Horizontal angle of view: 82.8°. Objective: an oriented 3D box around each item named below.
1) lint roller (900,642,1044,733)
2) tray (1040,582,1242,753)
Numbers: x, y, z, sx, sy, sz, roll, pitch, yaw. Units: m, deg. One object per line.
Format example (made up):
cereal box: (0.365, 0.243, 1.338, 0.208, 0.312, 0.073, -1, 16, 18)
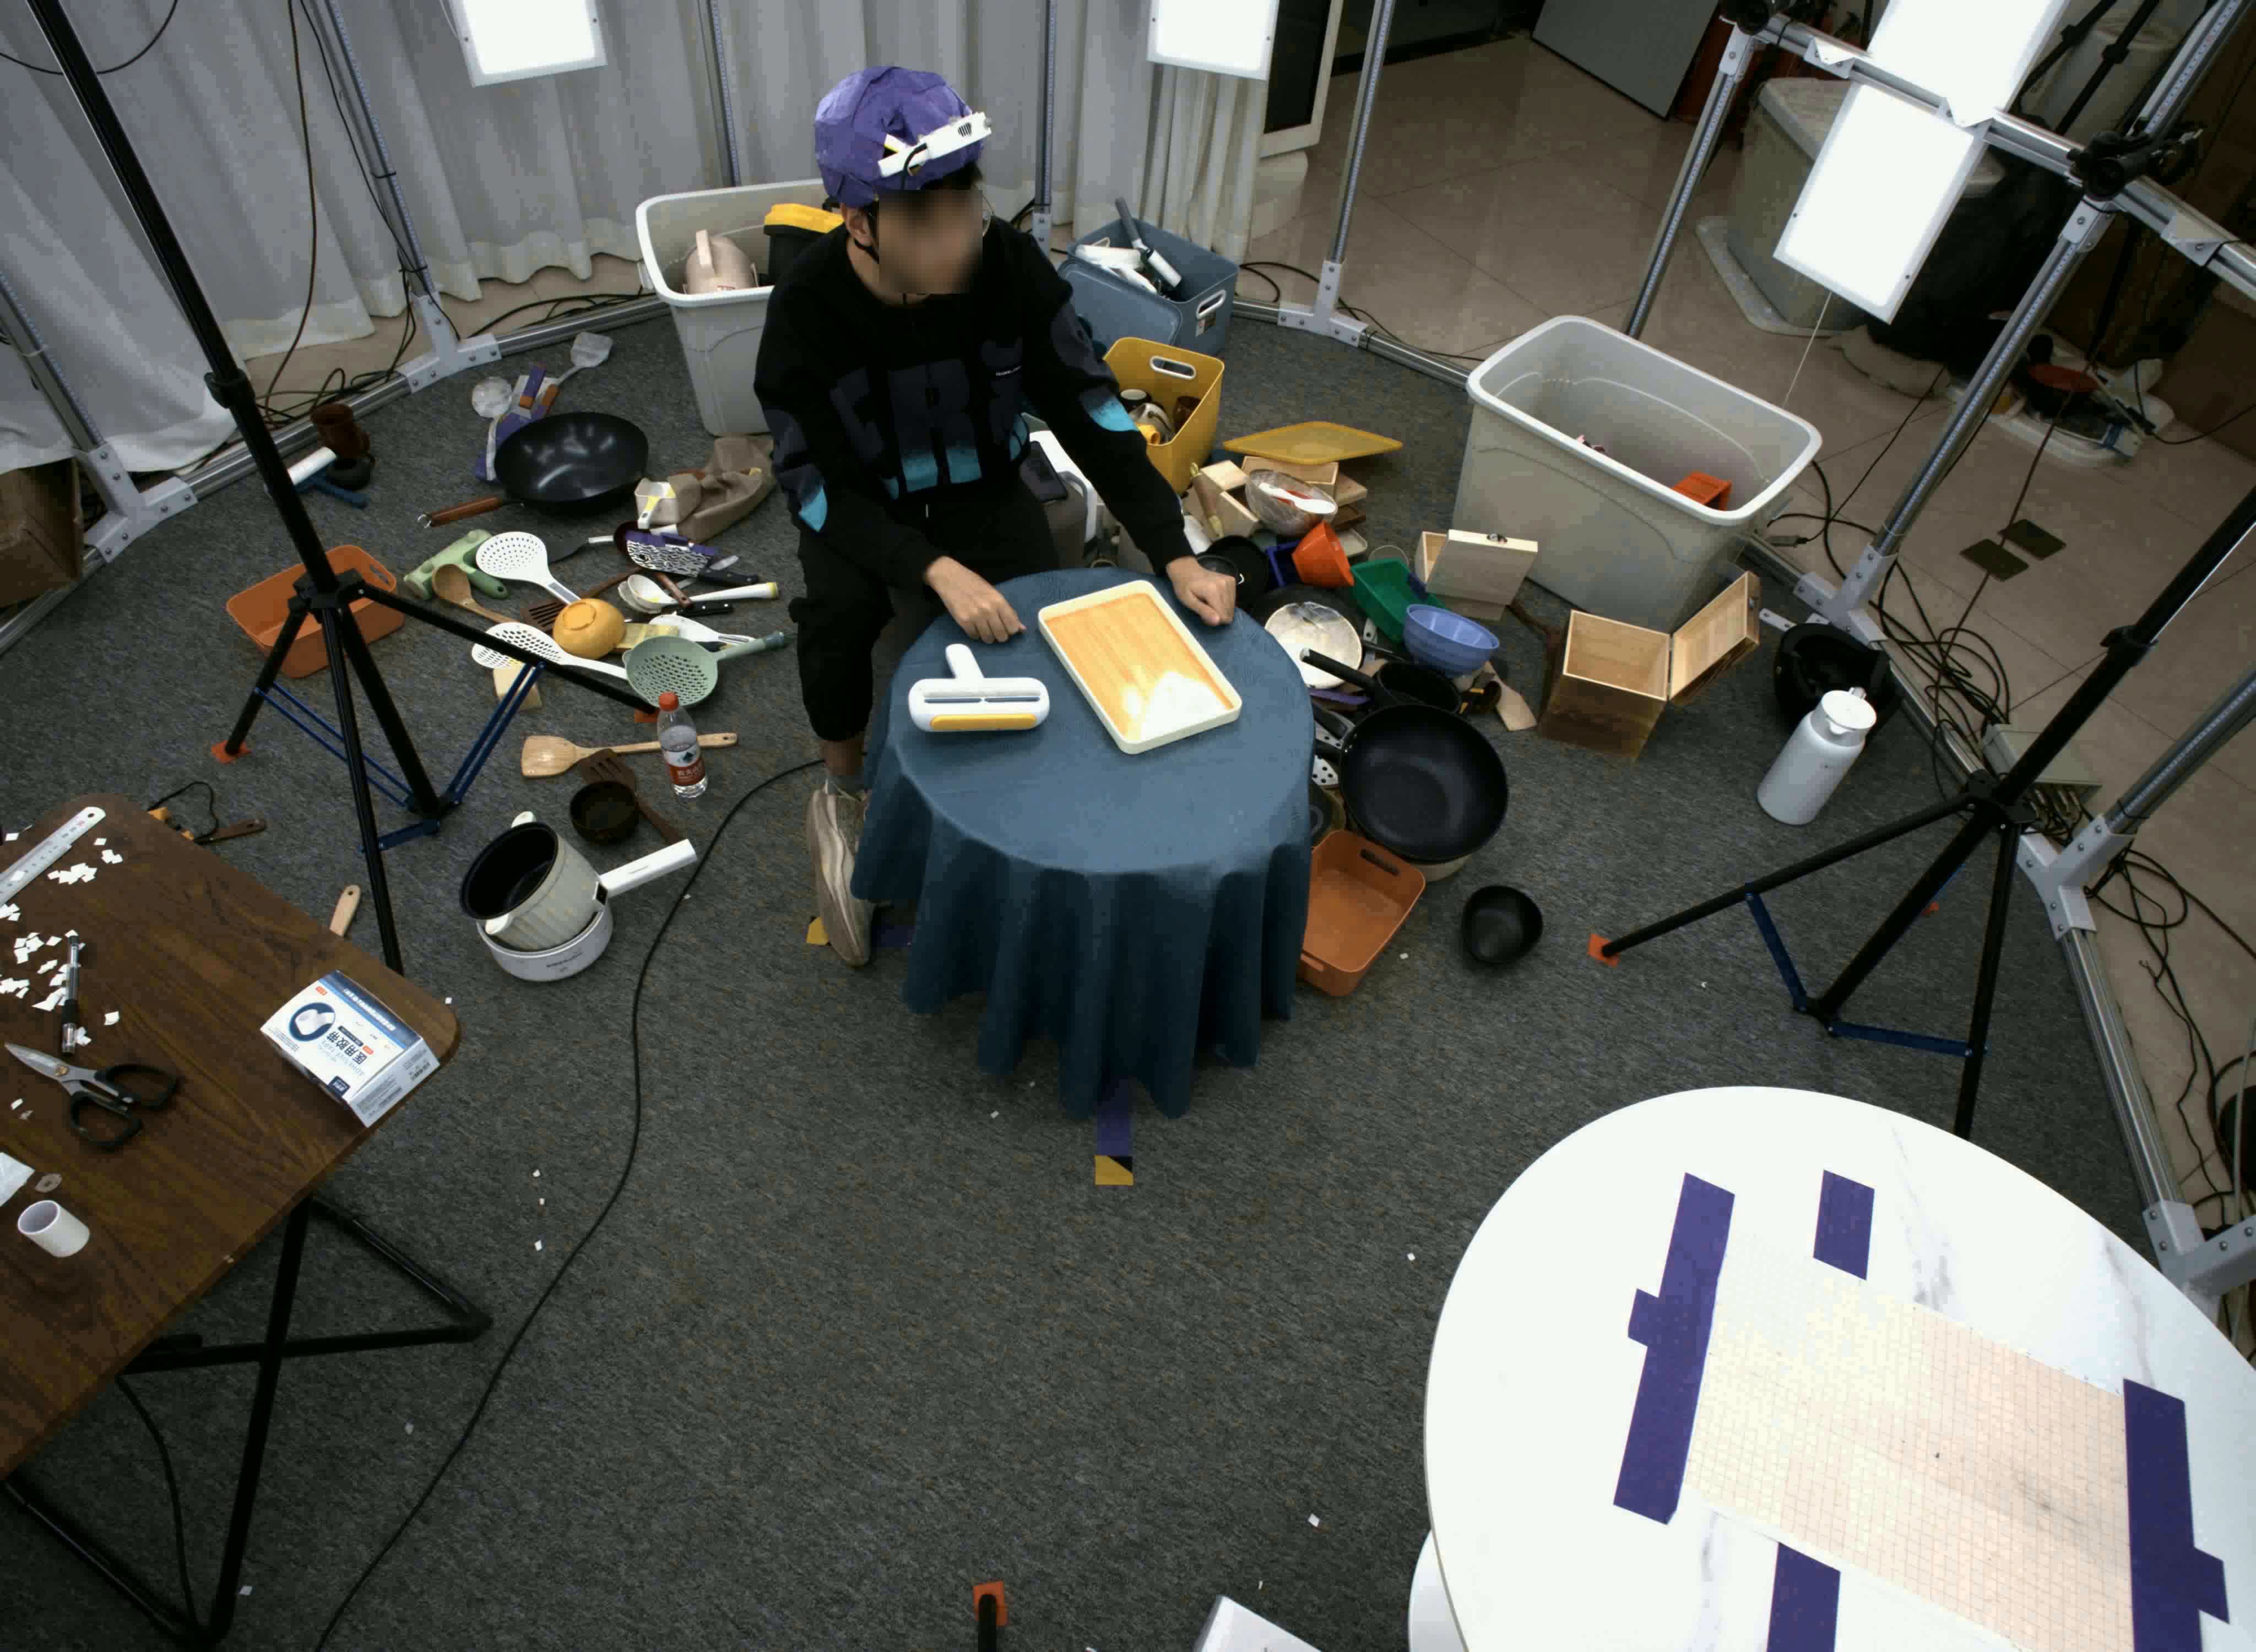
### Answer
lint roller: (-0.222, -0.203, 1.786, 0.192, 0.072, 0.197, -3, 48, -13)
tray: (0.014, -0.235, 1.856, 0.192, 0.027, 0.307, -18, 53, -20)
